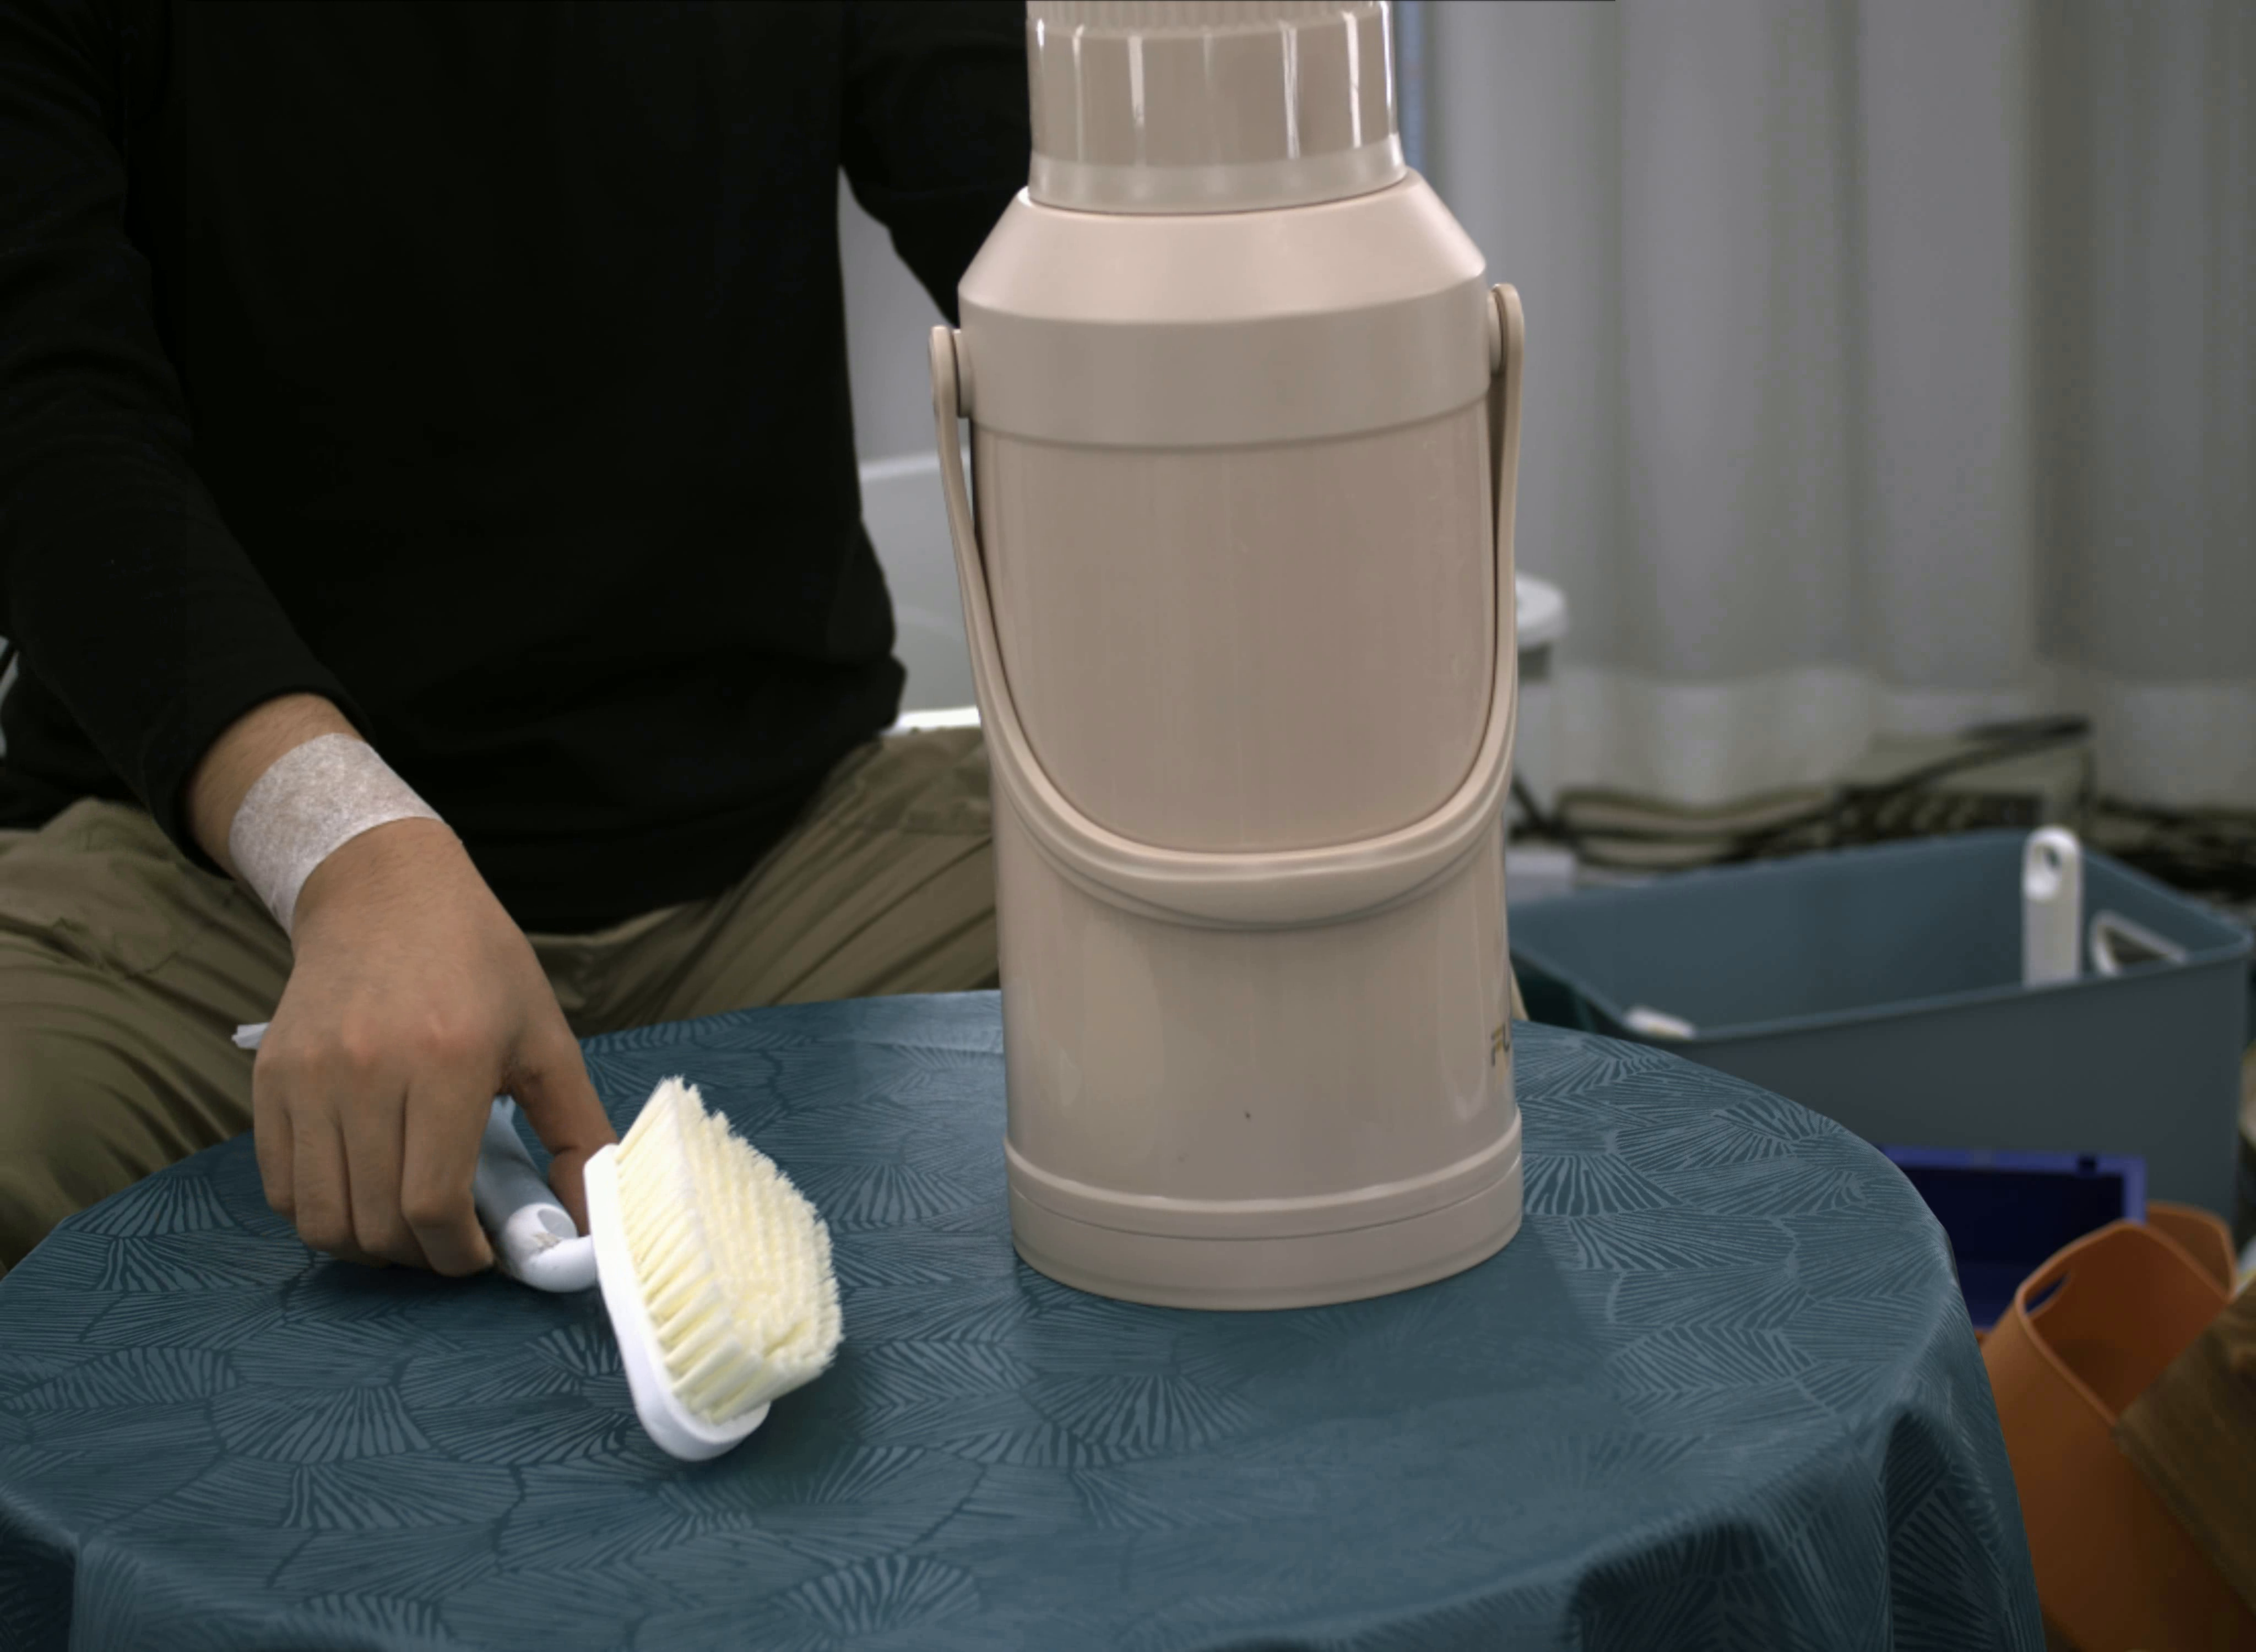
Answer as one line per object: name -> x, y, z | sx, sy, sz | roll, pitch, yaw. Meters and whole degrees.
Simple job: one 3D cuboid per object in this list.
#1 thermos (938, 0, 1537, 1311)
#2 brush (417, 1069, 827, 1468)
thermos -> 0.035, -0.073, 1.647 | 0.174, 0.405, 0.208 | -6, 14, -7
brush -> -0.150, 0.103, 1.639 | 0.084, 0.083, 0.328 | -8, 16, -15
